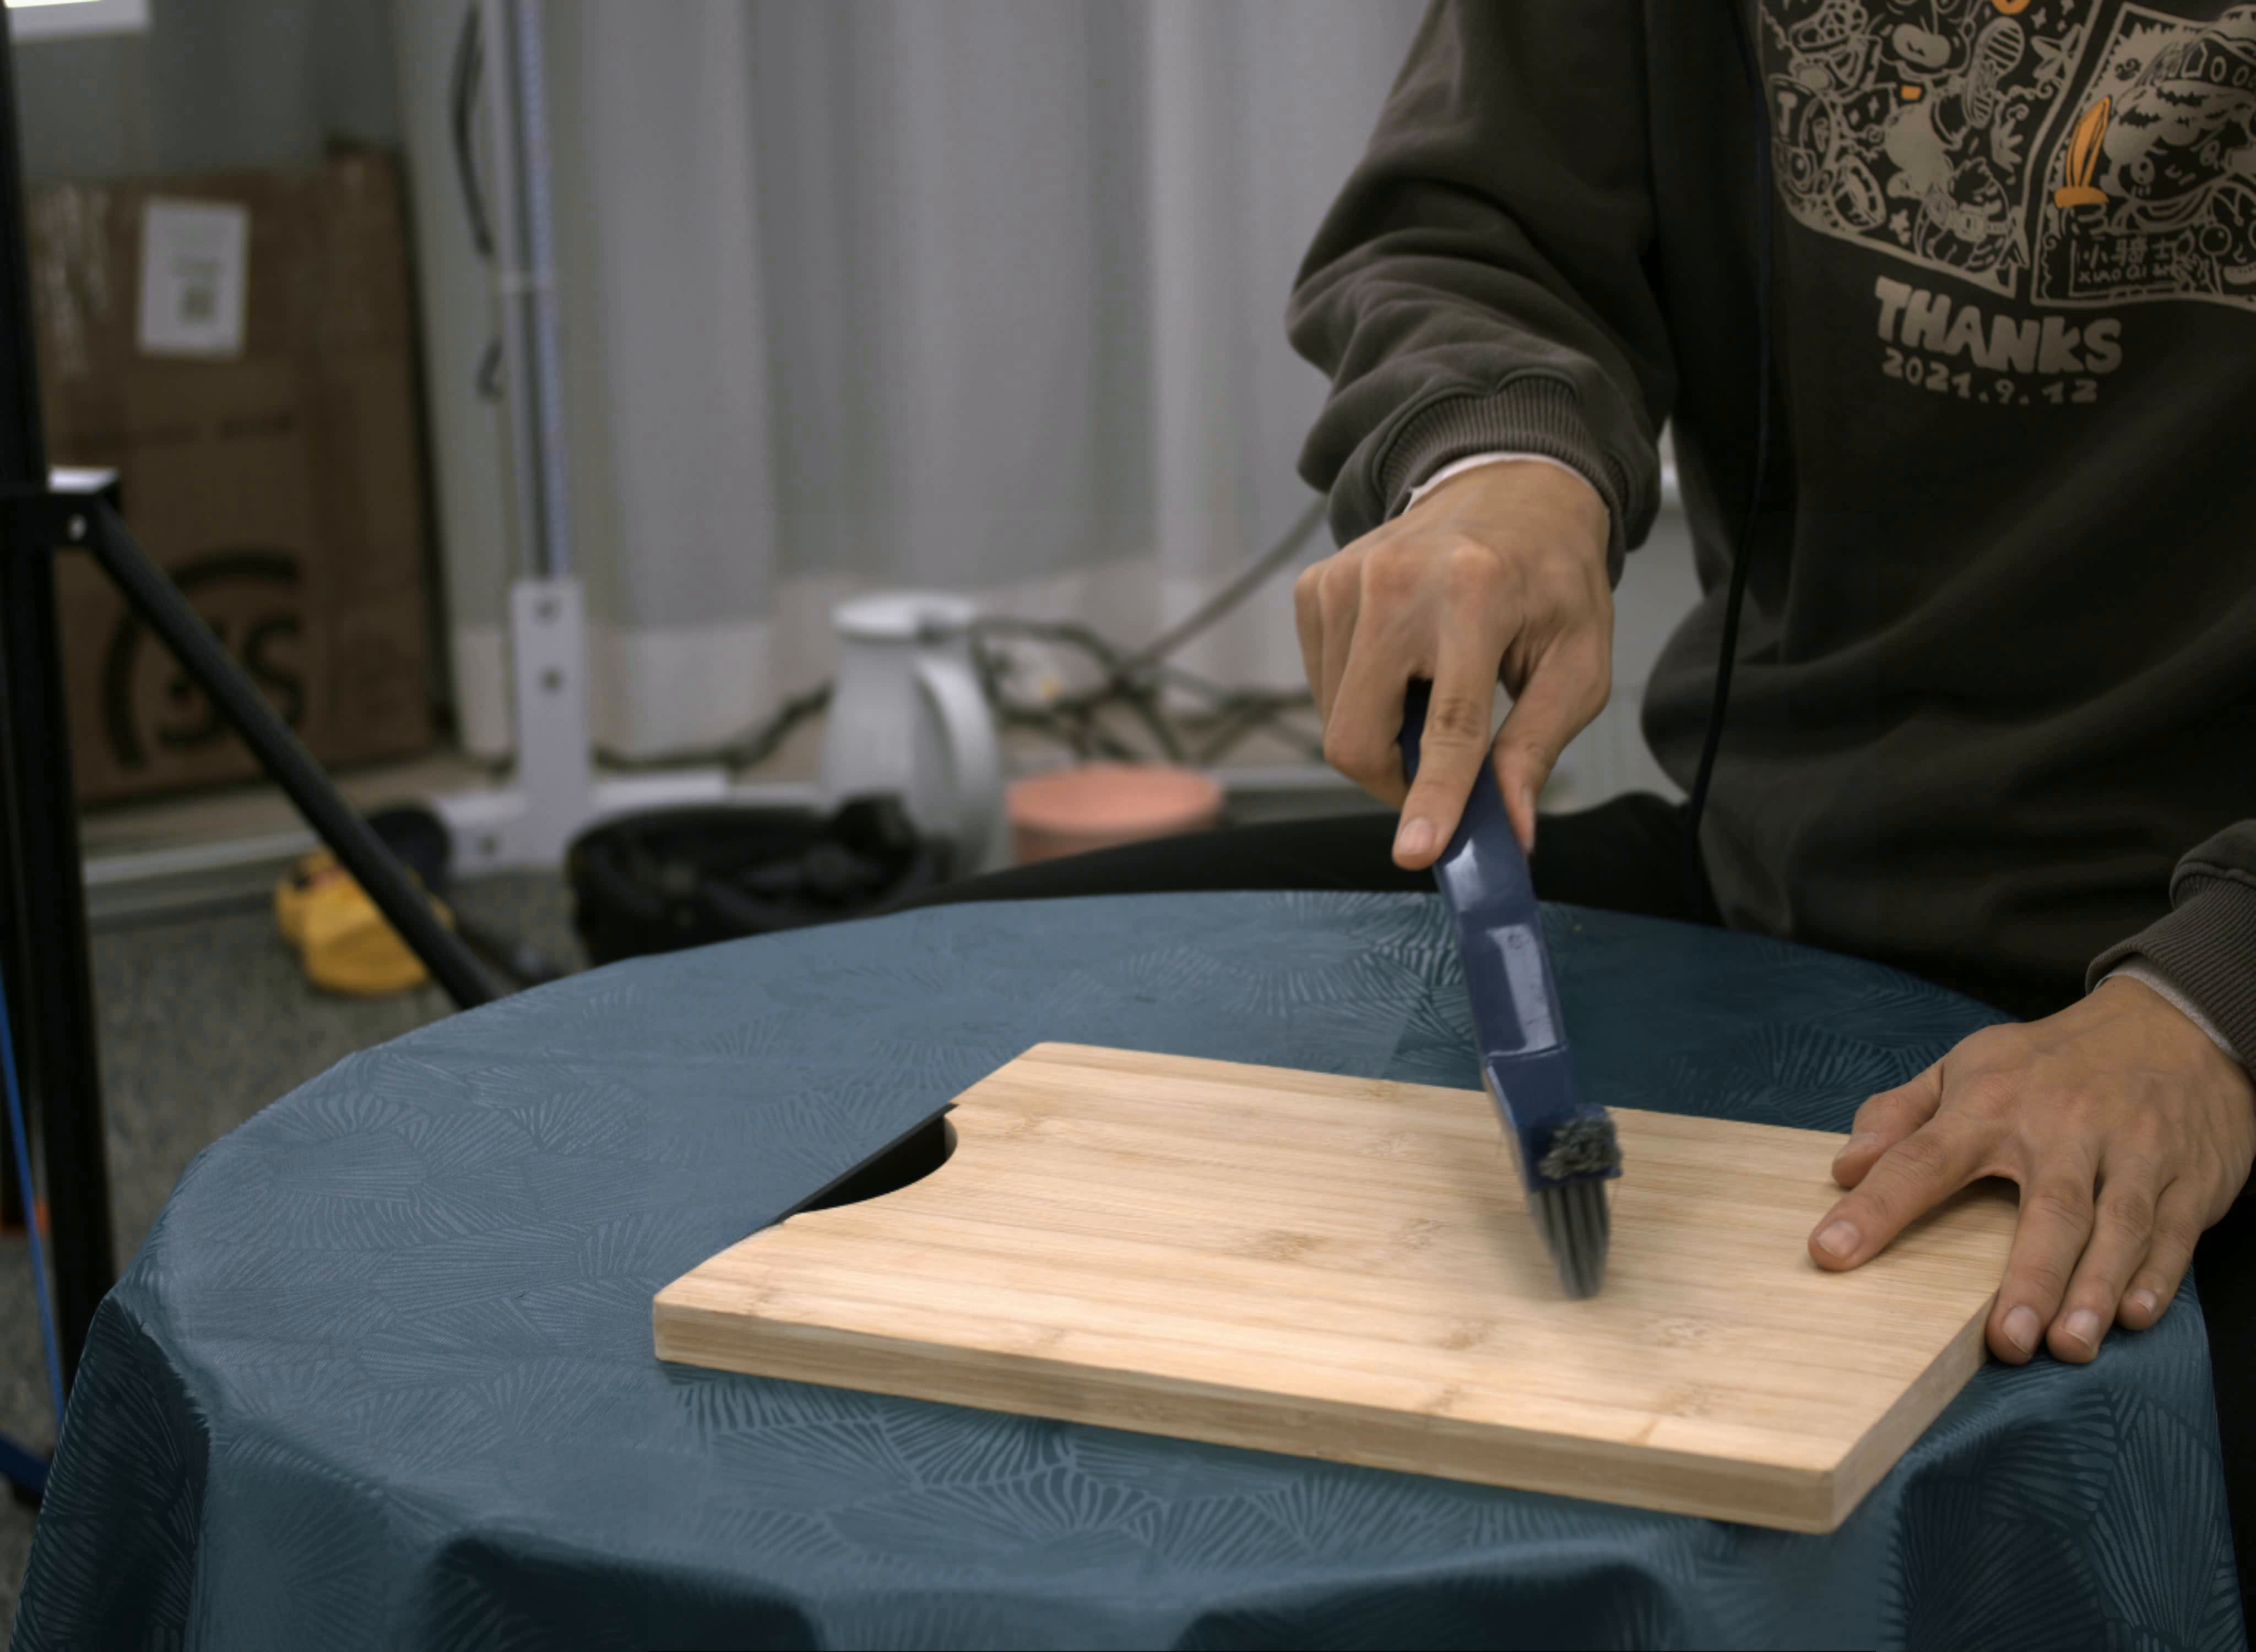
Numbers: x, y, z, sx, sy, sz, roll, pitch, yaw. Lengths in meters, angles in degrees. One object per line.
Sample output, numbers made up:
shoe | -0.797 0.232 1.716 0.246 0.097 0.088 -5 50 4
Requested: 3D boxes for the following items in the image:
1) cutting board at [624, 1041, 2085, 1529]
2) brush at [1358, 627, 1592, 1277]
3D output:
cutting board | 0.067 0.121 1.475 0.354 0.023 0.247 5 17 26
brush | 0.099 0.016 1.495 0.033 0.094 0.277 -12 44 1
